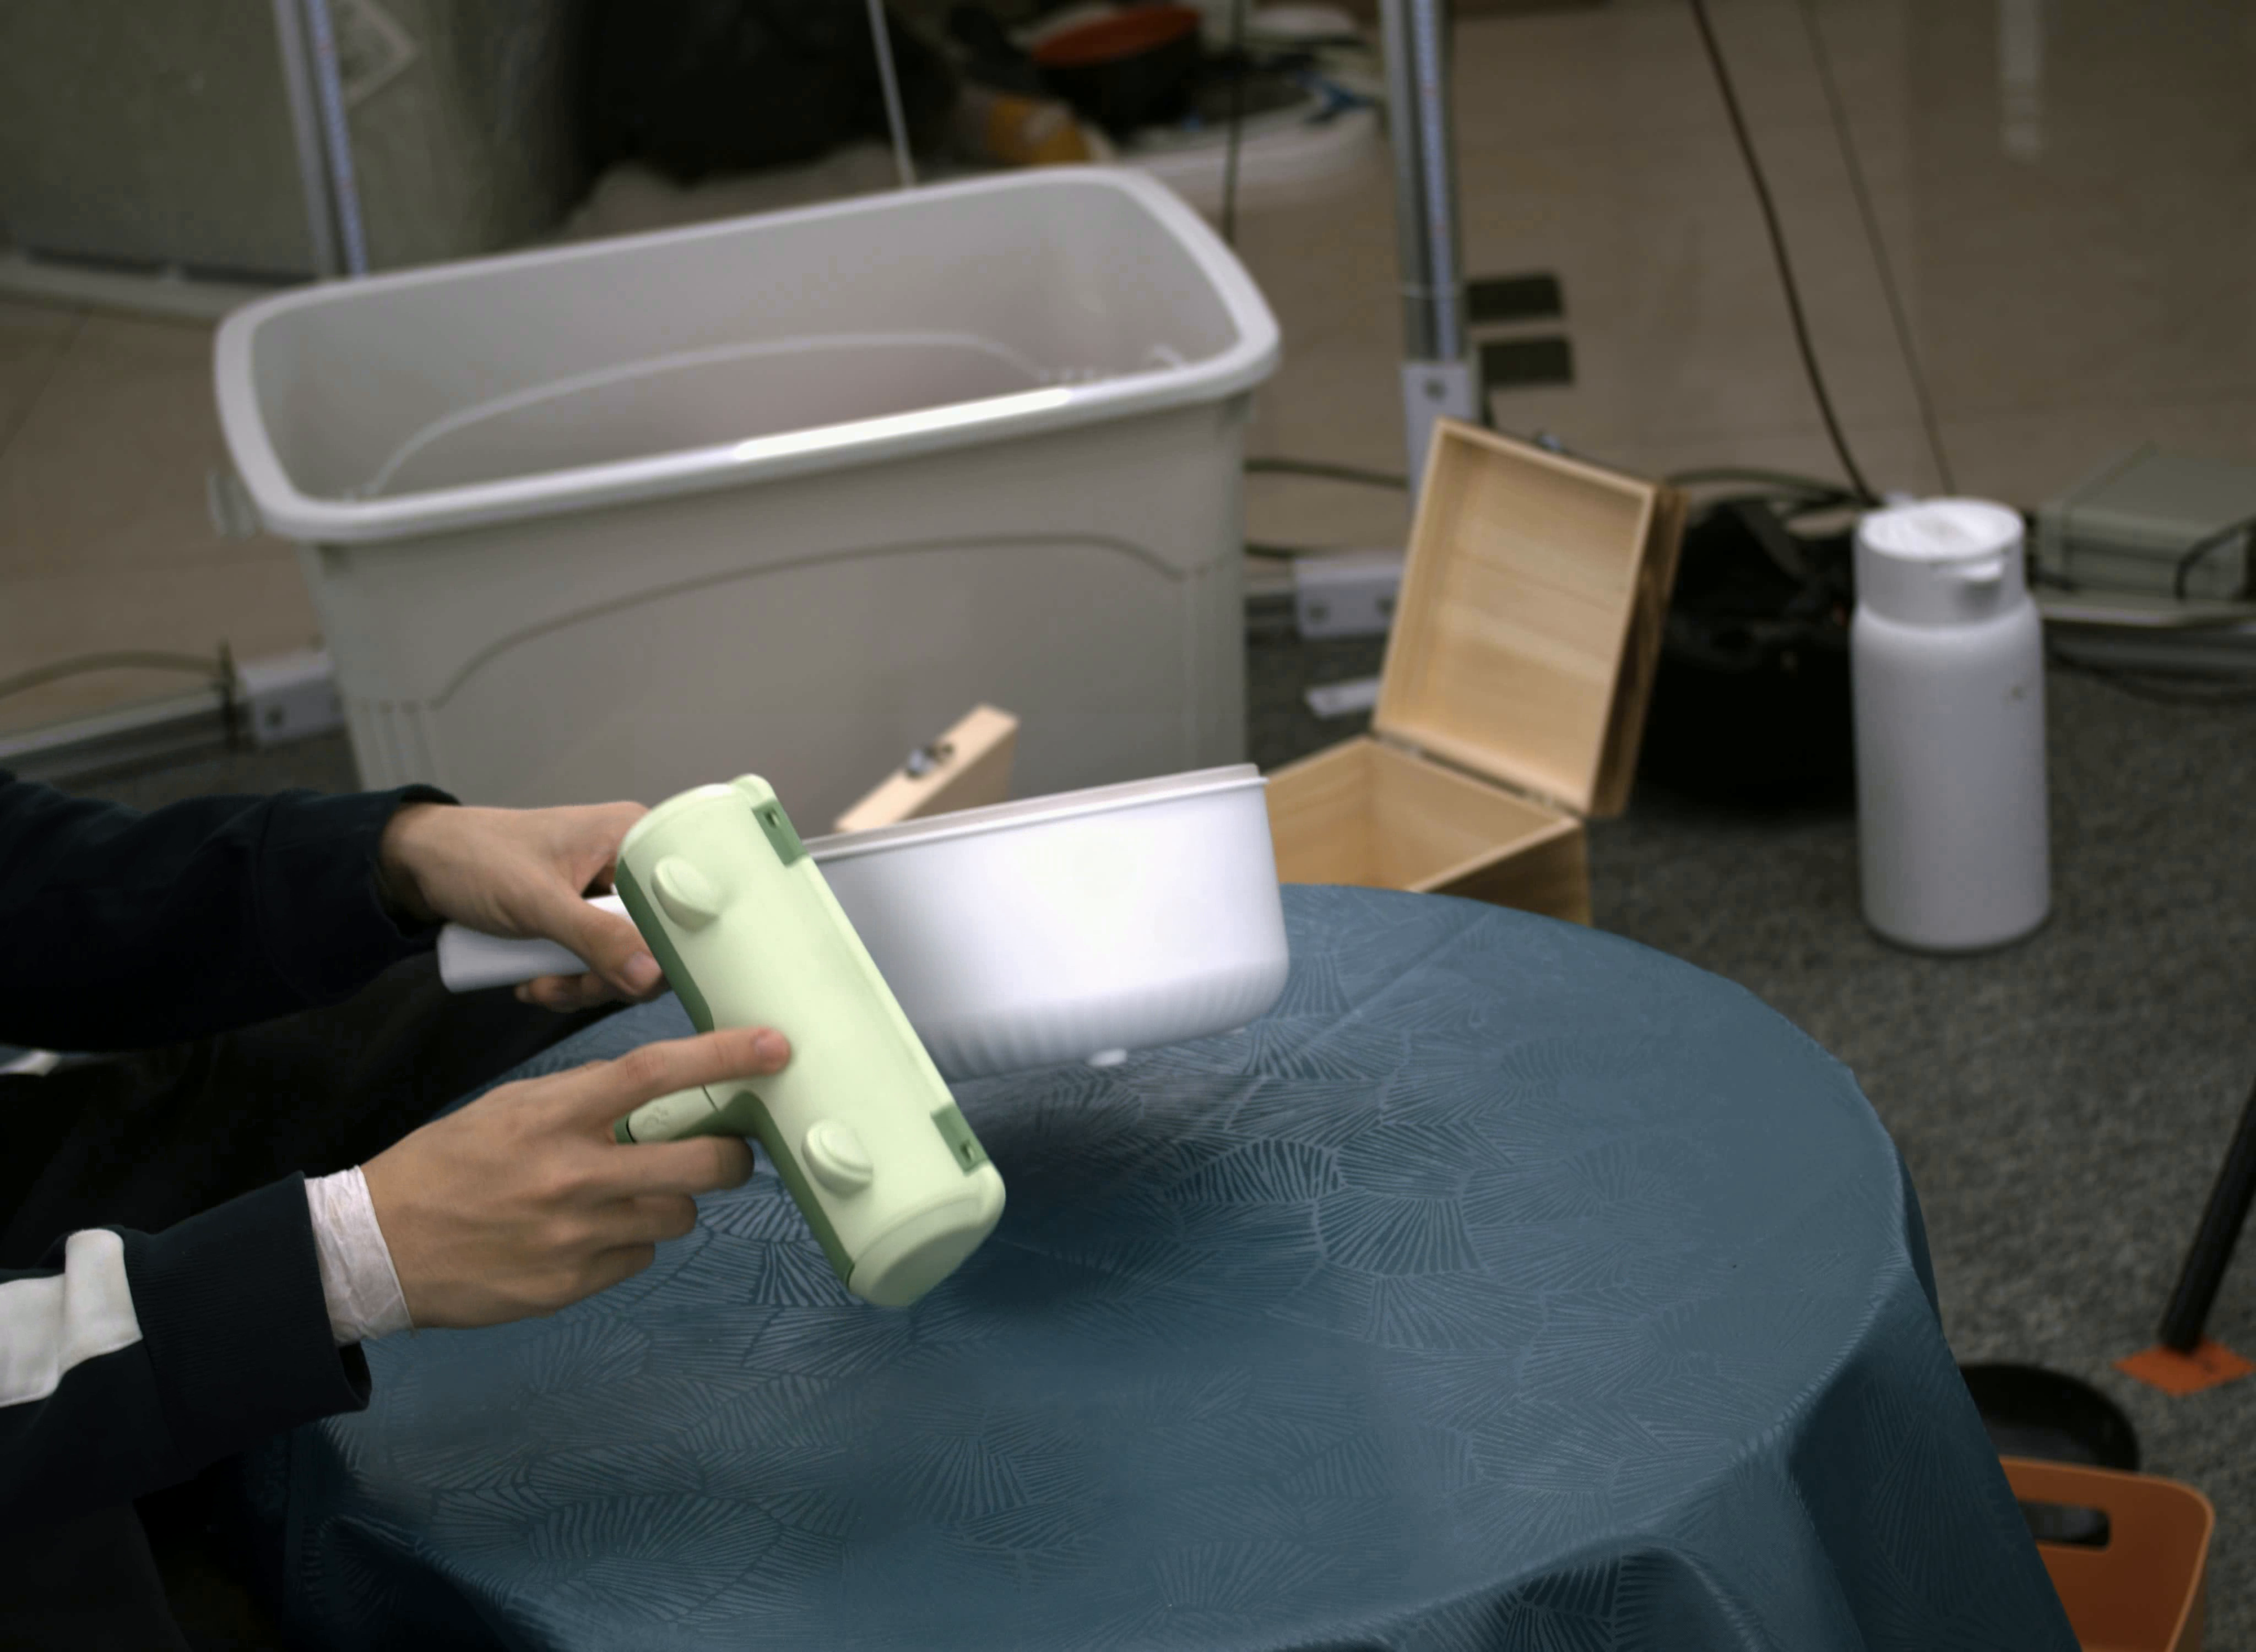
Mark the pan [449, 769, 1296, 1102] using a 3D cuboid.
[{"bbox_3d":[-0.102,0.059,2.180,0.355,0.102,0.200,-11,1,28],"label":"pan"}]

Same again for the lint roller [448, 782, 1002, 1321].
[{"bbox_3d":[-0.164,0.103,1.970,0.183,0.083,0.196,-30,68,-1],"label":"lint roller"}]
